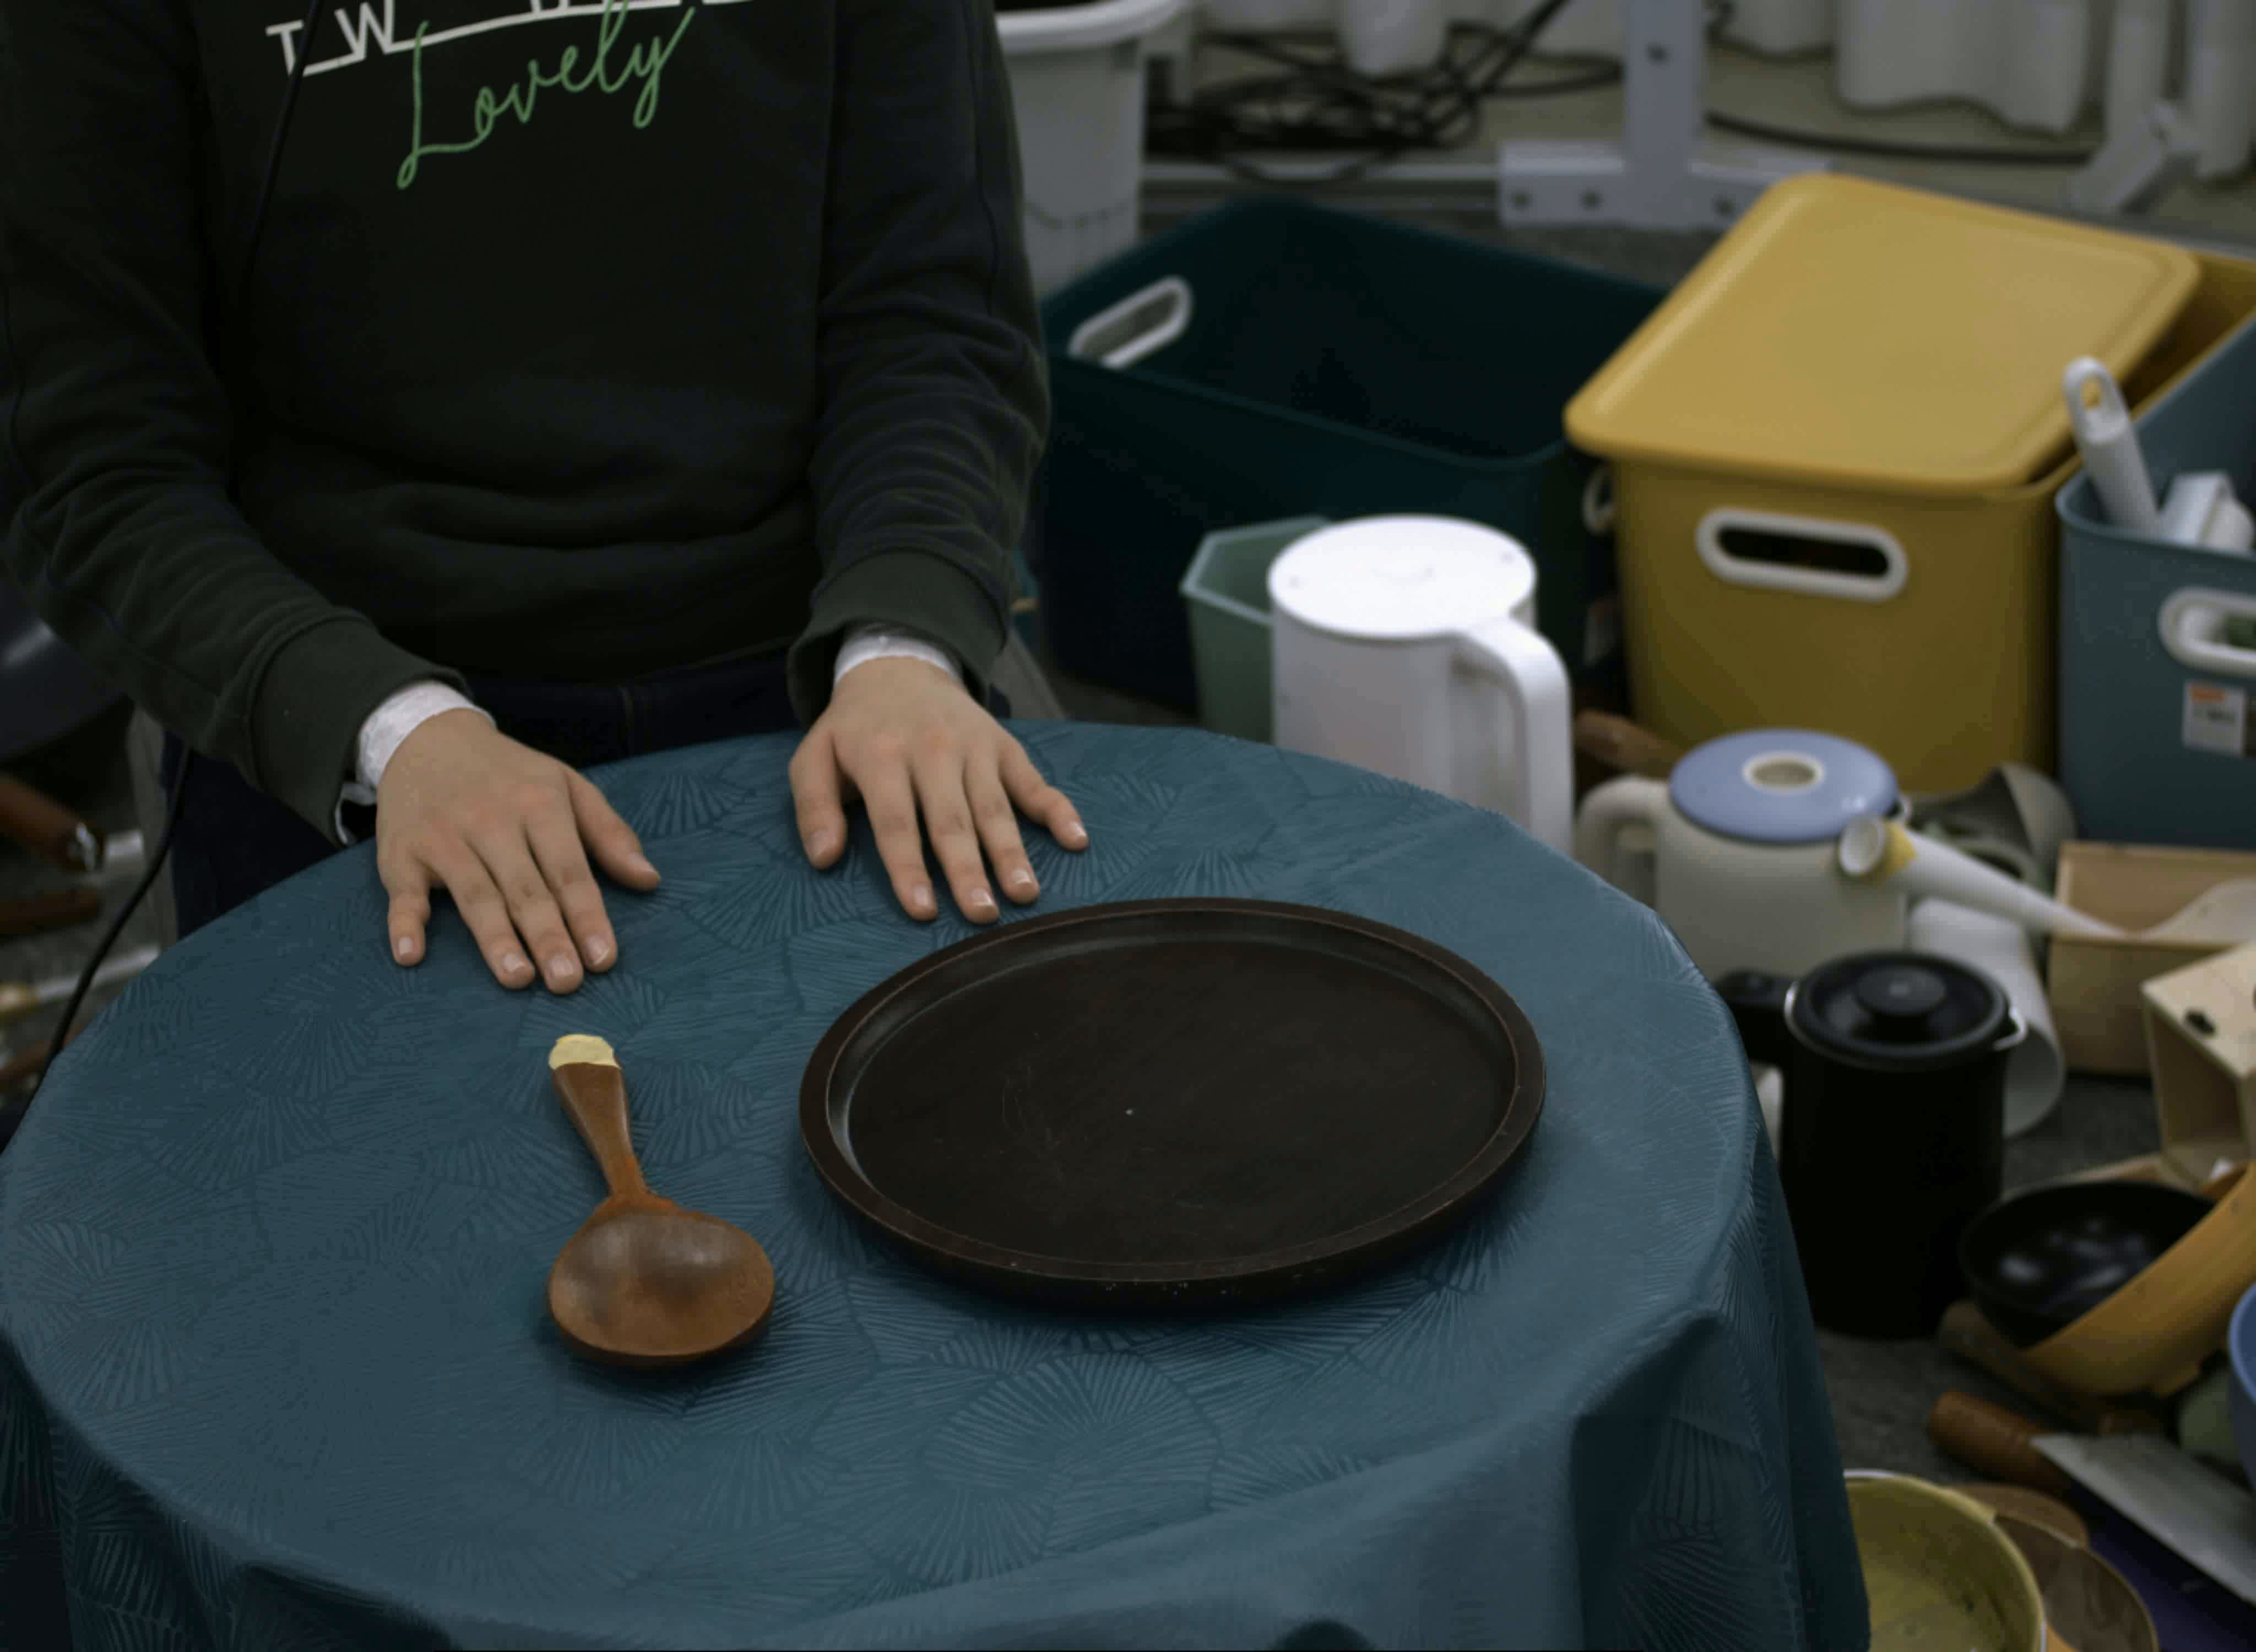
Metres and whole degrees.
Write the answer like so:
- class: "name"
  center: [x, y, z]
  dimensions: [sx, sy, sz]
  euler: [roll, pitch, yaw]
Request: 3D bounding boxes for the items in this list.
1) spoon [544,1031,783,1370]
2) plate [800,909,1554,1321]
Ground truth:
- class: "spoon"
  center: [-0.164, 0.124, 1.854]
  dimensions: [0.075, 0.017, 0.218]
  euler: [-9, 28, -11]
- class: "plate"
  center: [0.016, 0.095, 1.889]
  dimensions: [0.253, 0.029, 0.259]
  euler: [-1, 28, 1]
